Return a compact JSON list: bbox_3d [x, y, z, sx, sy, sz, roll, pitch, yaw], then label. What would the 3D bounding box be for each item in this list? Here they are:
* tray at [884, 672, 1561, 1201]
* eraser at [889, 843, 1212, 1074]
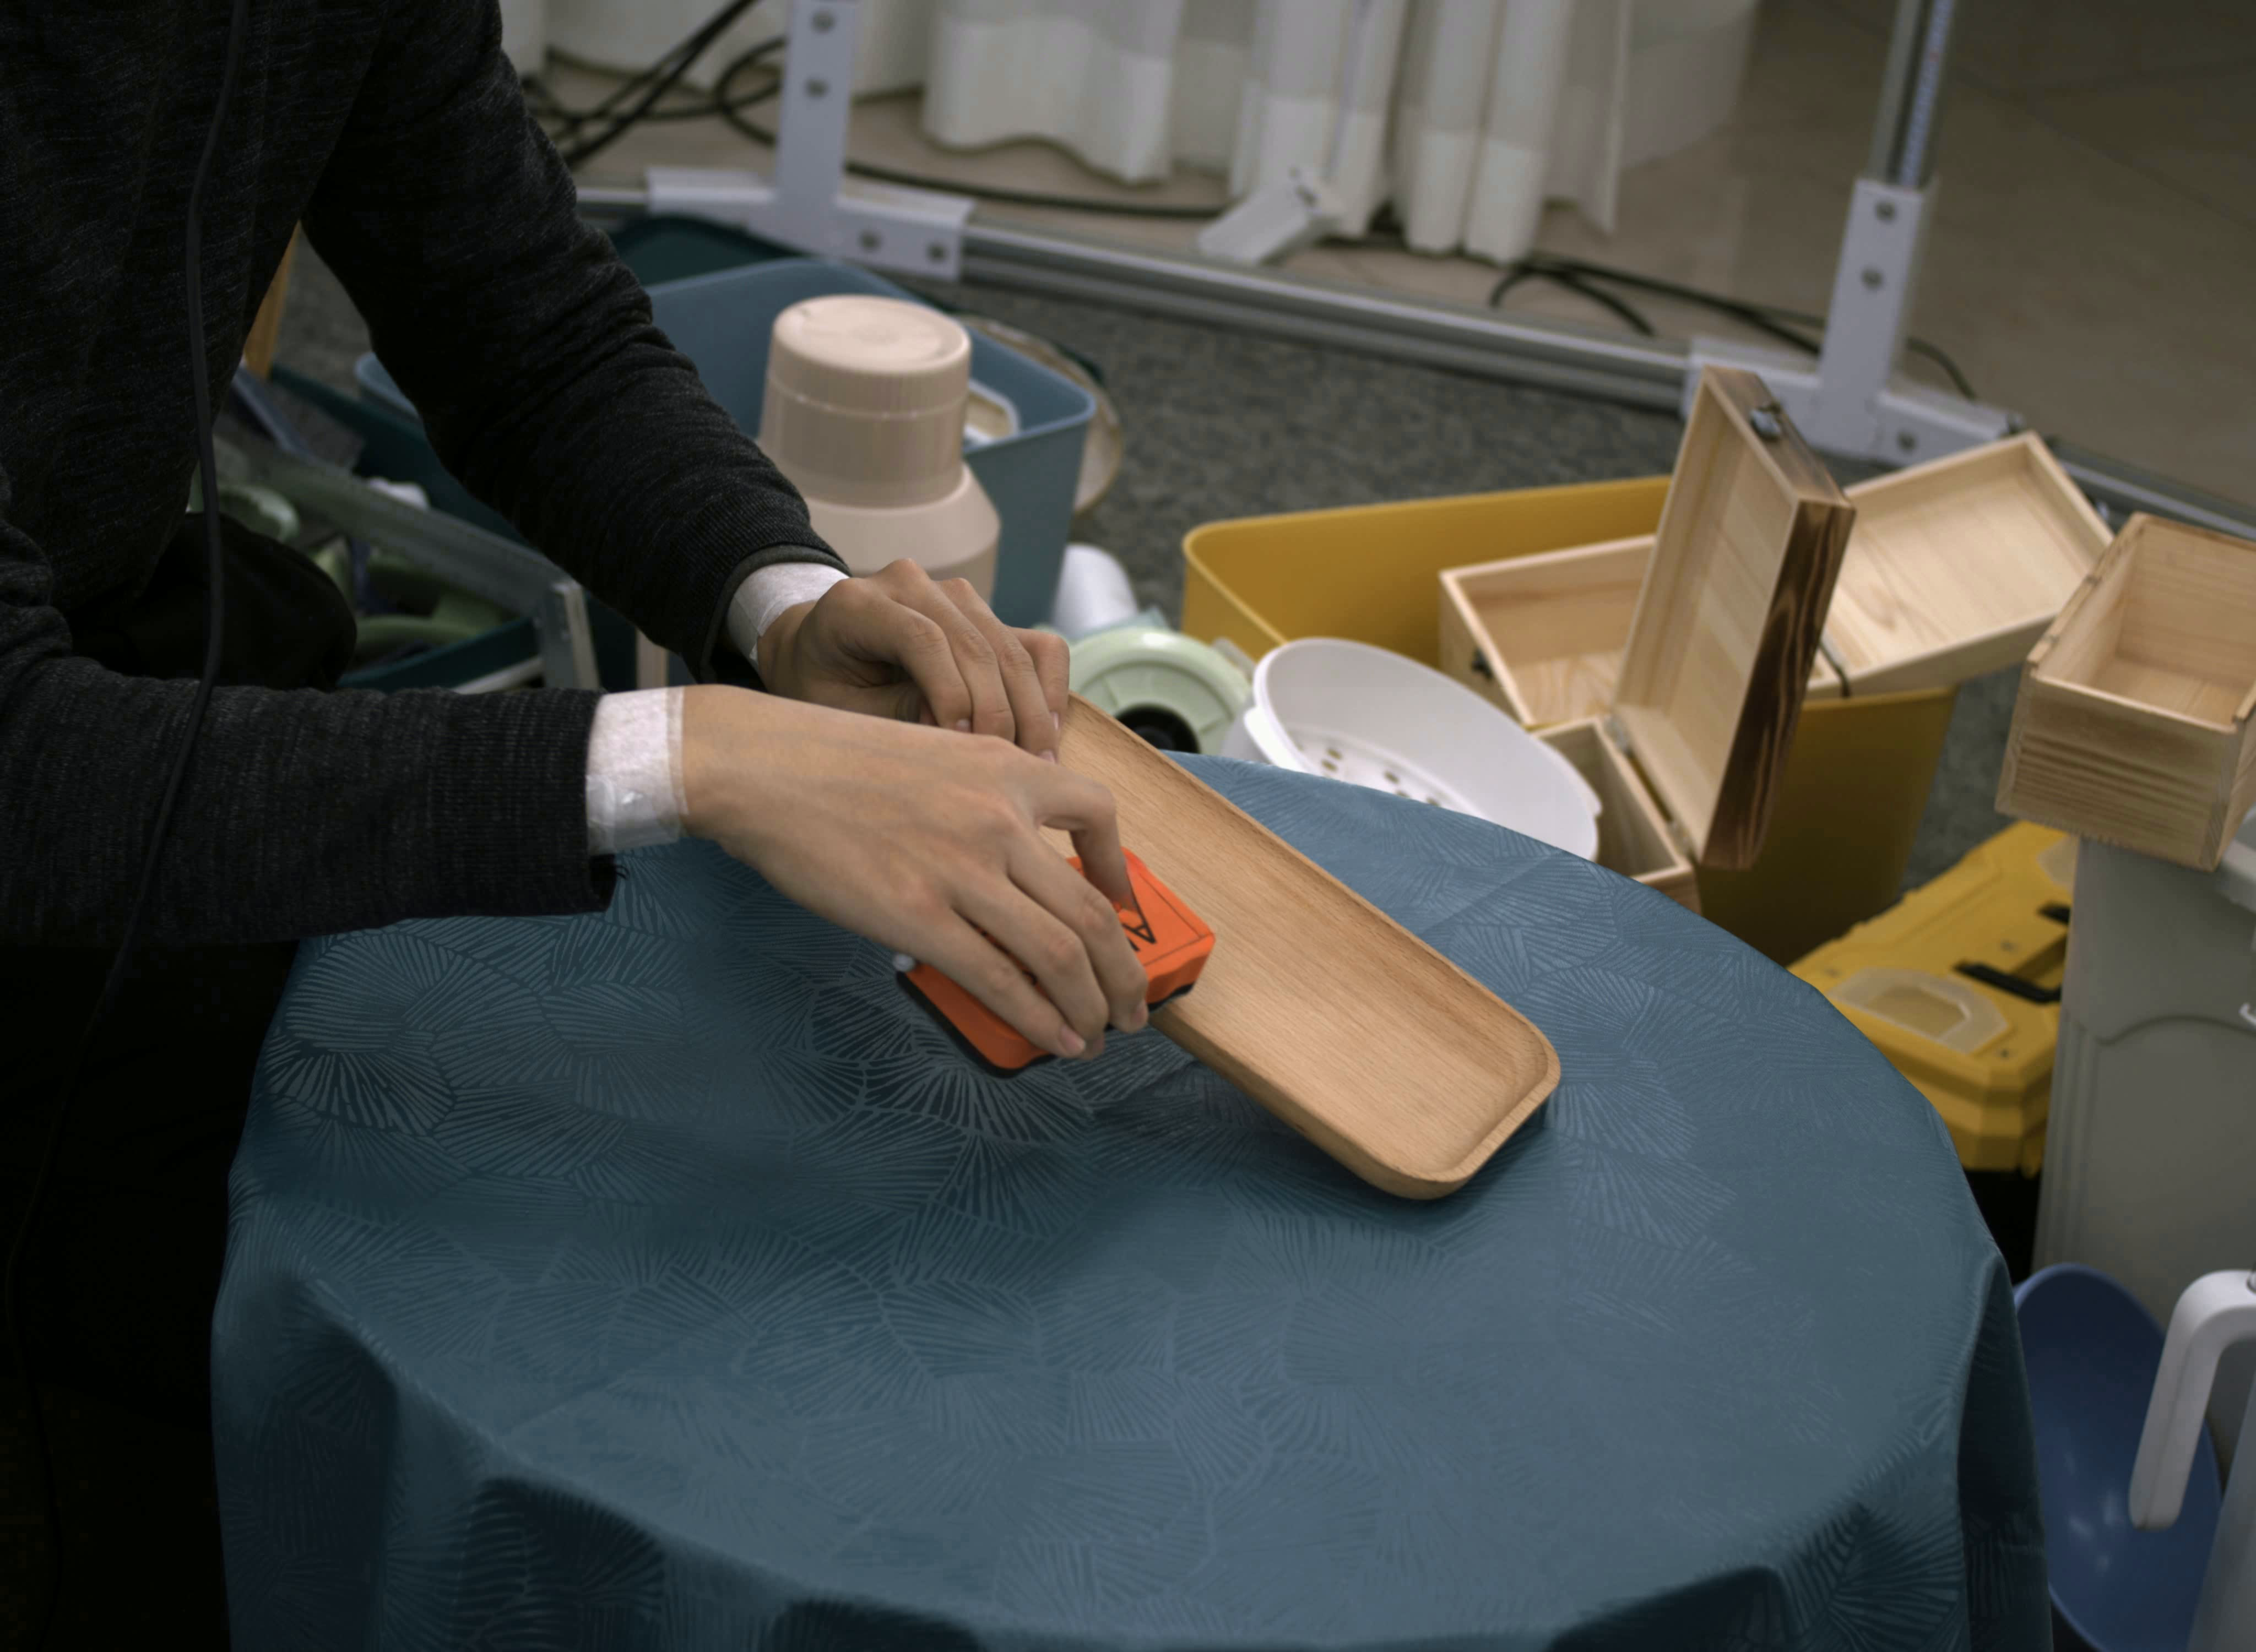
[{"bbox_3d":[0.032,0.037,1.872,0.251,0.023,0.130,36,32,13],"label":"tray"},{"bbox_3d":[-0.026,0.044,1.795,0.107,0.023,0.059,-22,57,-43],"label":"eraser"}]
